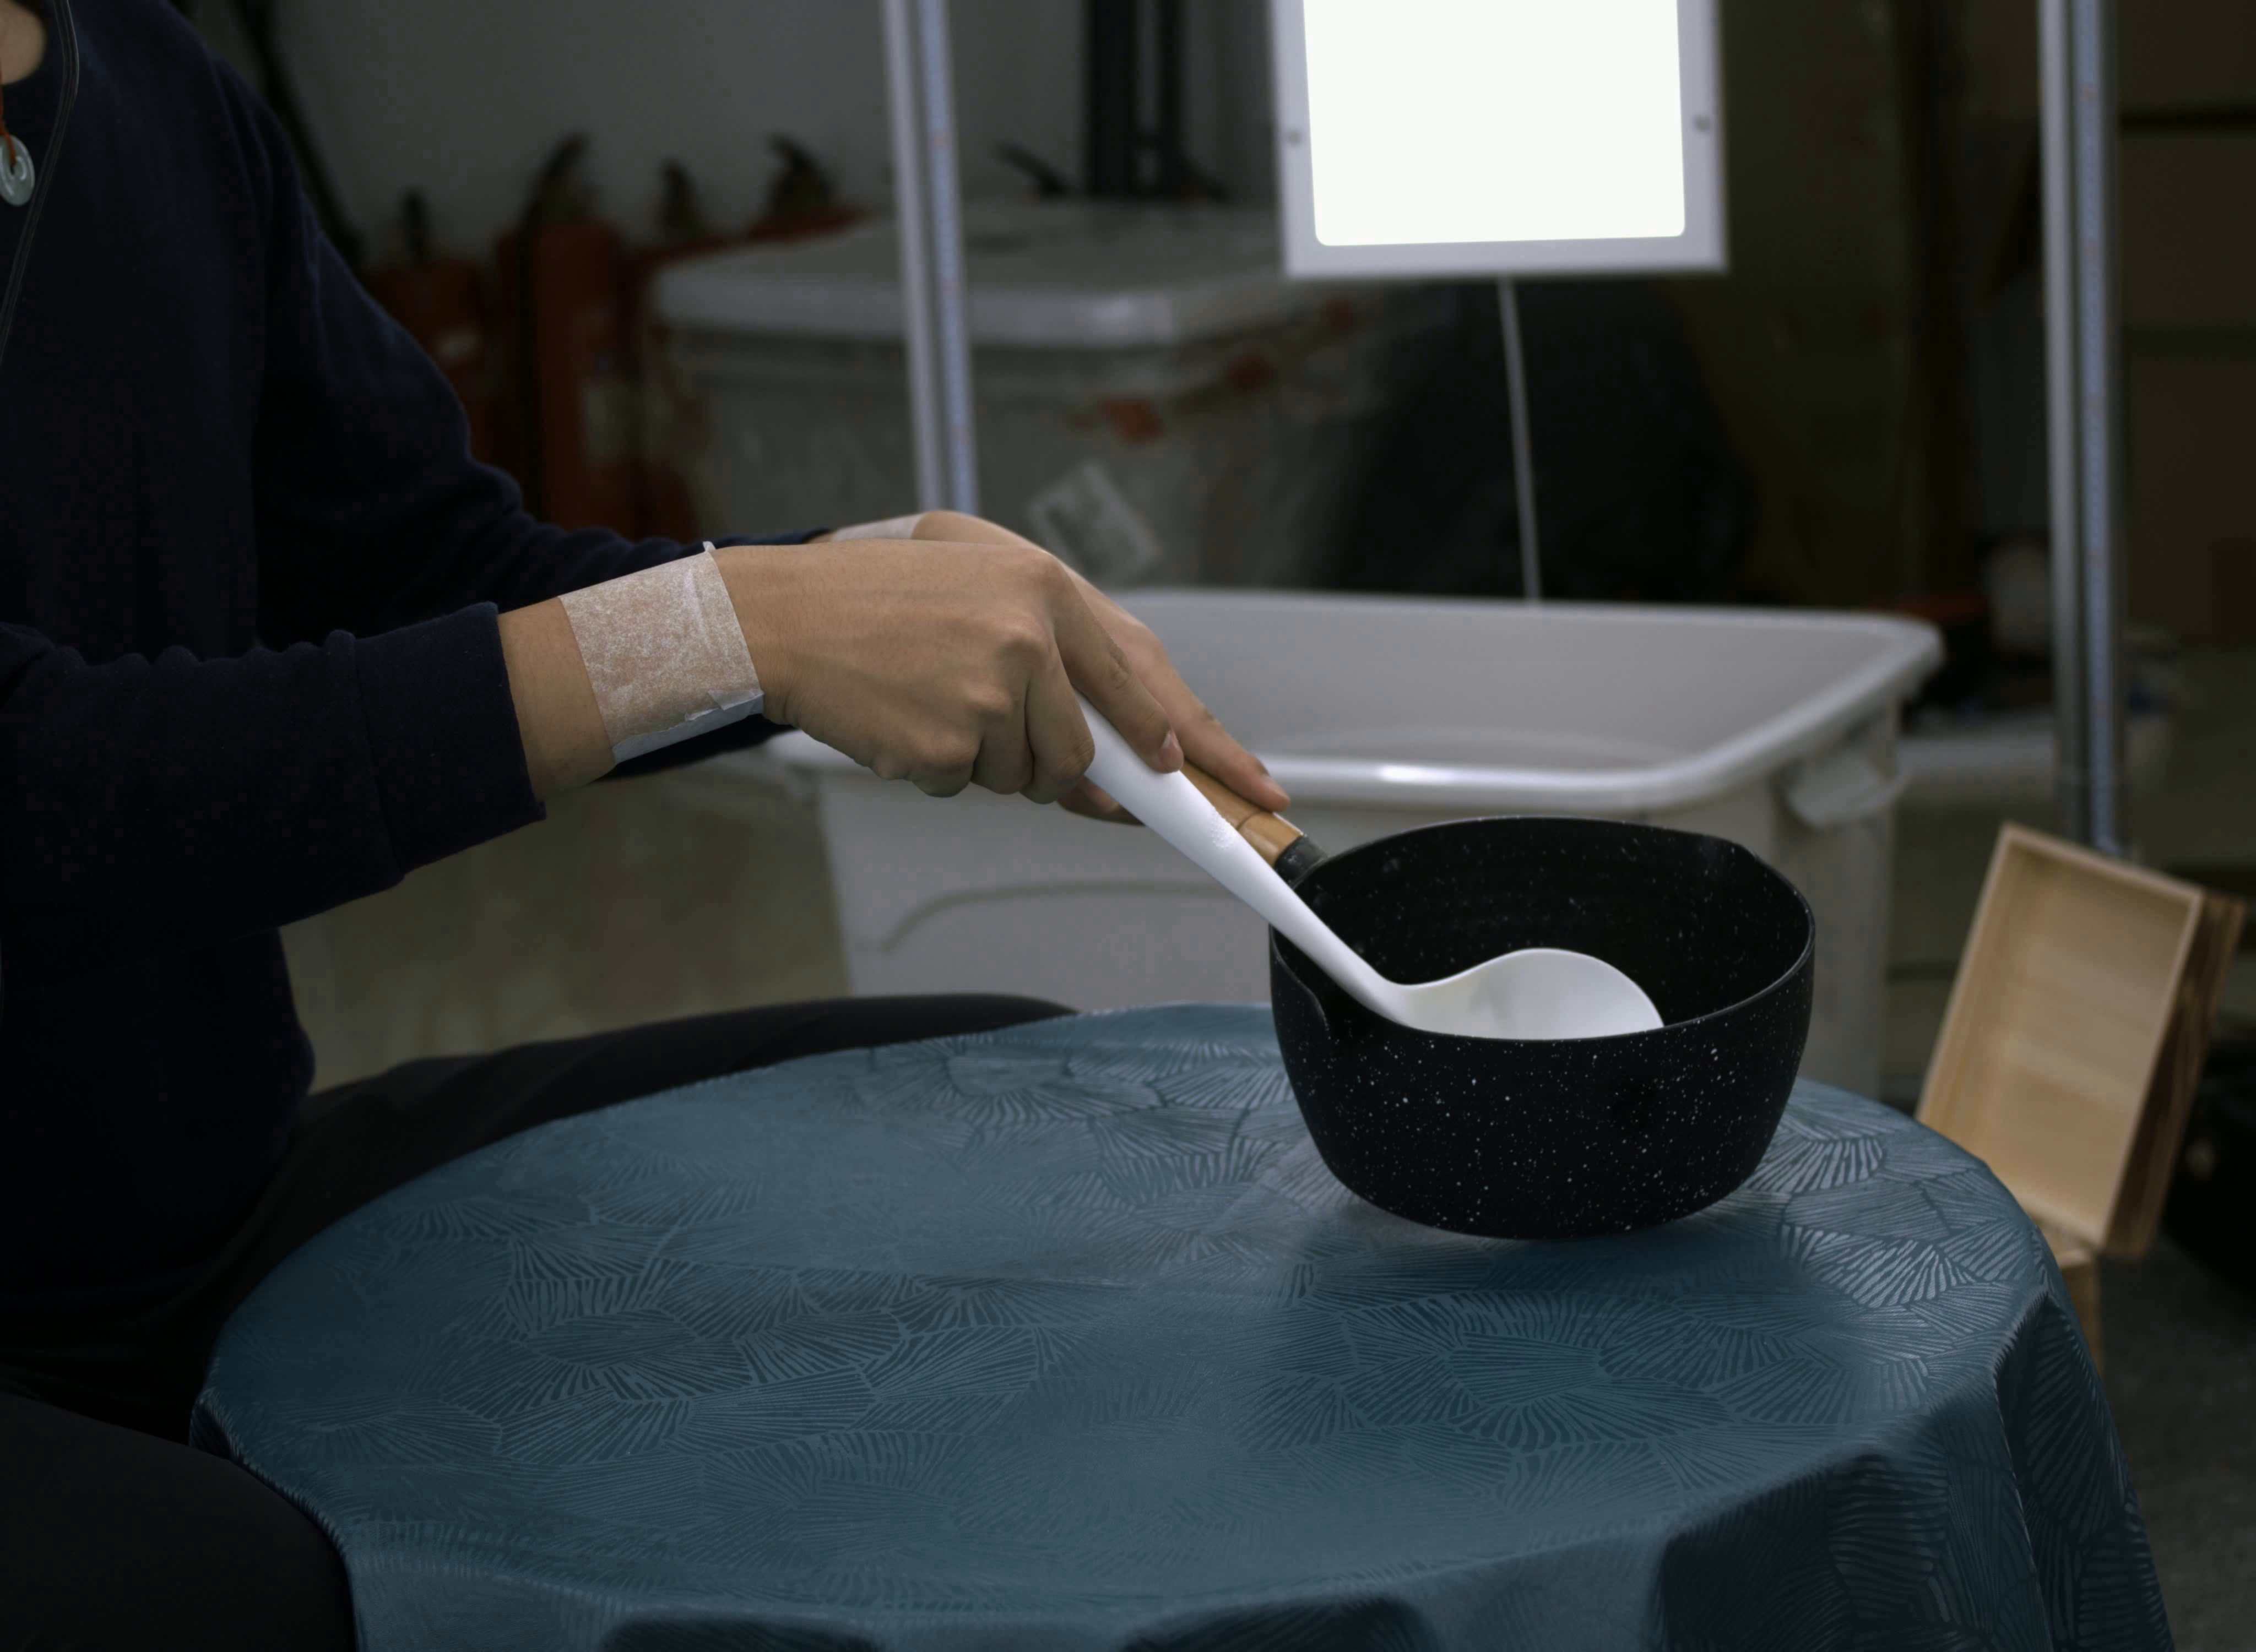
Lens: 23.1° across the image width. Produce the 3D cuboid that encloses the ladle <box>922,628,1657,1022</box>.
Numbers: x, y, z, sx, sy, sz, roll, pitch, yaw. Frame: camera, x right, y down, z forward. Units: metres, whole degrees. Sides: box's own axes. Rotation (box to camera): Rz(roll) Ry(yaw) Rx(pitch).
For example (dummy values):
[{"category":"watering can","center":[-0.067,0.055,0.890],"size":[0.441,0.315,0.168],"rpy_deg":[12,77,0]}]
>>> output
[{"category":"ladle","center":[0.060,0.022,1.813],"size":[0.071,0.289,0.089],"rpy_deg":[-26,36,43]}]

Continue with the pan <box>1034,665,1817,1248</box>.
[{"category":"pan","center":[0.084,0.039,1.906],"size":[0.202,0.109,0.349],"rpy_deg":[-24,32,-38]}]
